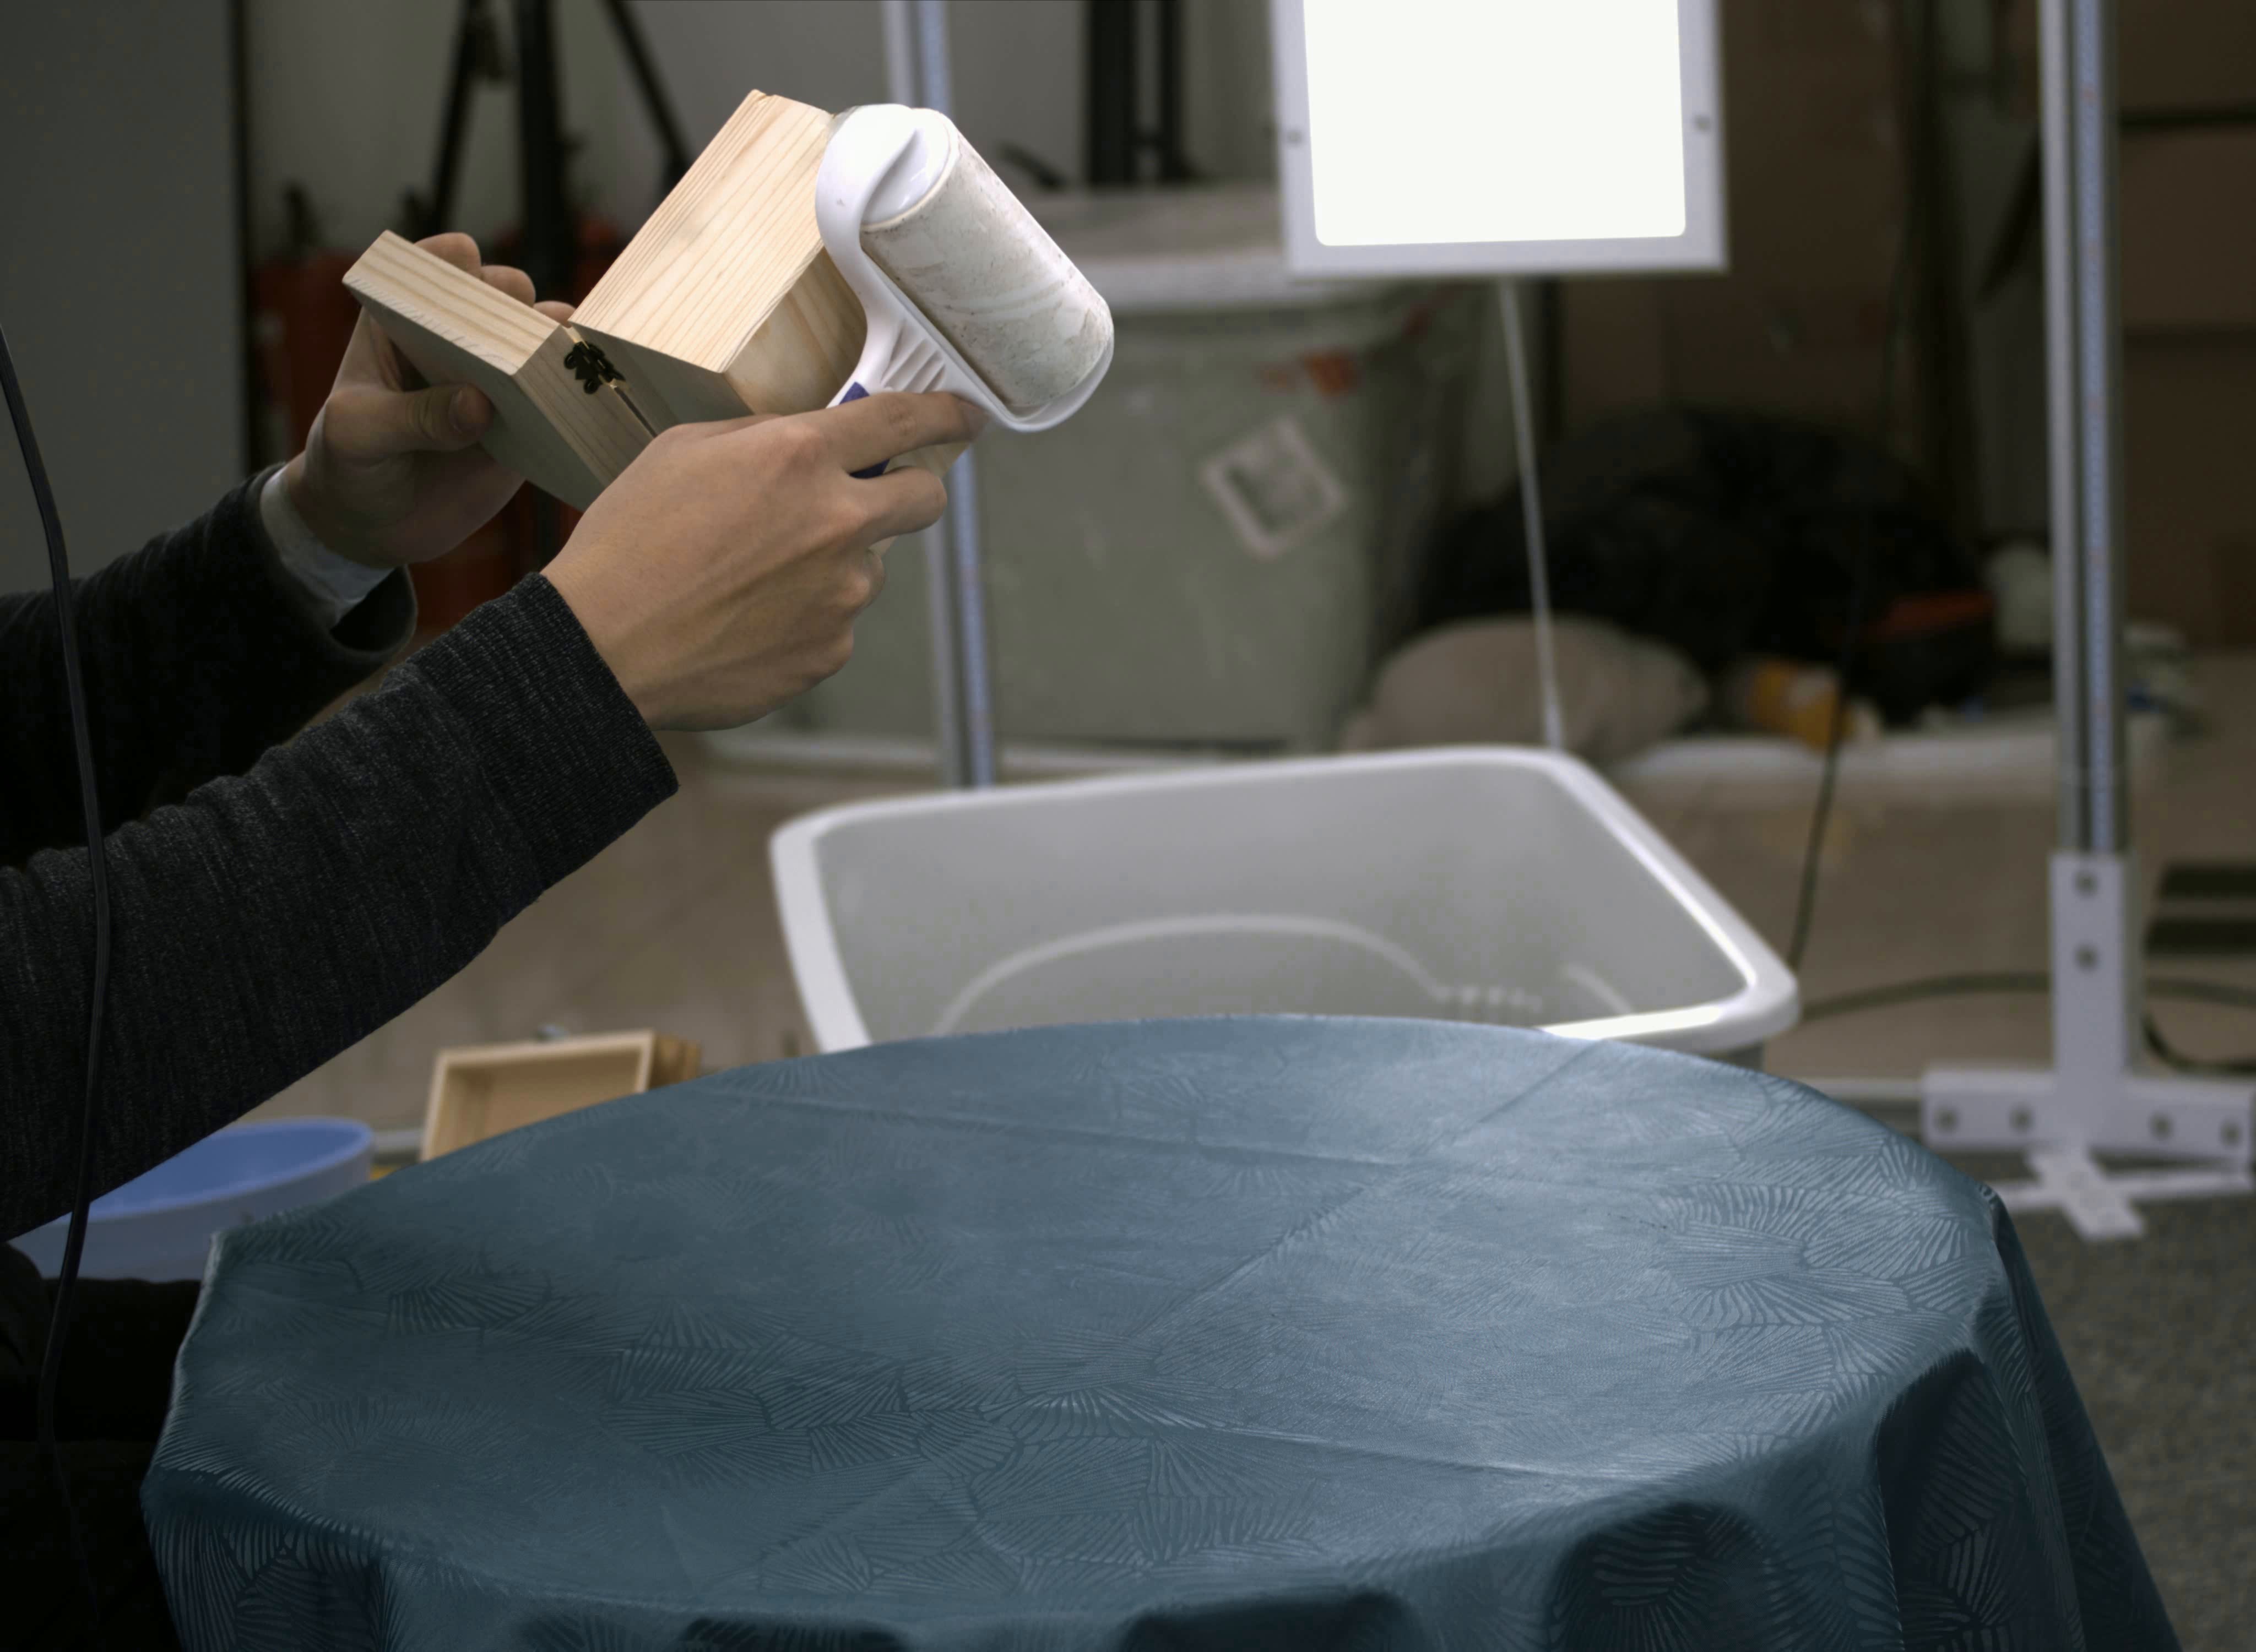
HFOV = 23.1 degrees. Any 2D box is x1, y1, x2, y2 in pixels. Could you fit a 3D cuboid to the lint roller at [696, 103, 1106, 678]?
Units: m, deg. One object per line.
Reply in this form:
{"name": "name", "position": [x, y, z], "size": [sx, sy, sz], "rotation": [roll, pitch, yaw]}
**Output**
{"name": "lint roller", "position": [-0.078, -0.123, 1.710], "size": [0.051, 0.179, 0.131], "rotation": [11, -24, 38]}

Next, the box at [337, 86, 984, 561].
{"name": "box", "position": [-0.143, -0.170, 1.811], "size": [0.188, 0.101, 0.133], "rotation": [22, 69, 43]}
